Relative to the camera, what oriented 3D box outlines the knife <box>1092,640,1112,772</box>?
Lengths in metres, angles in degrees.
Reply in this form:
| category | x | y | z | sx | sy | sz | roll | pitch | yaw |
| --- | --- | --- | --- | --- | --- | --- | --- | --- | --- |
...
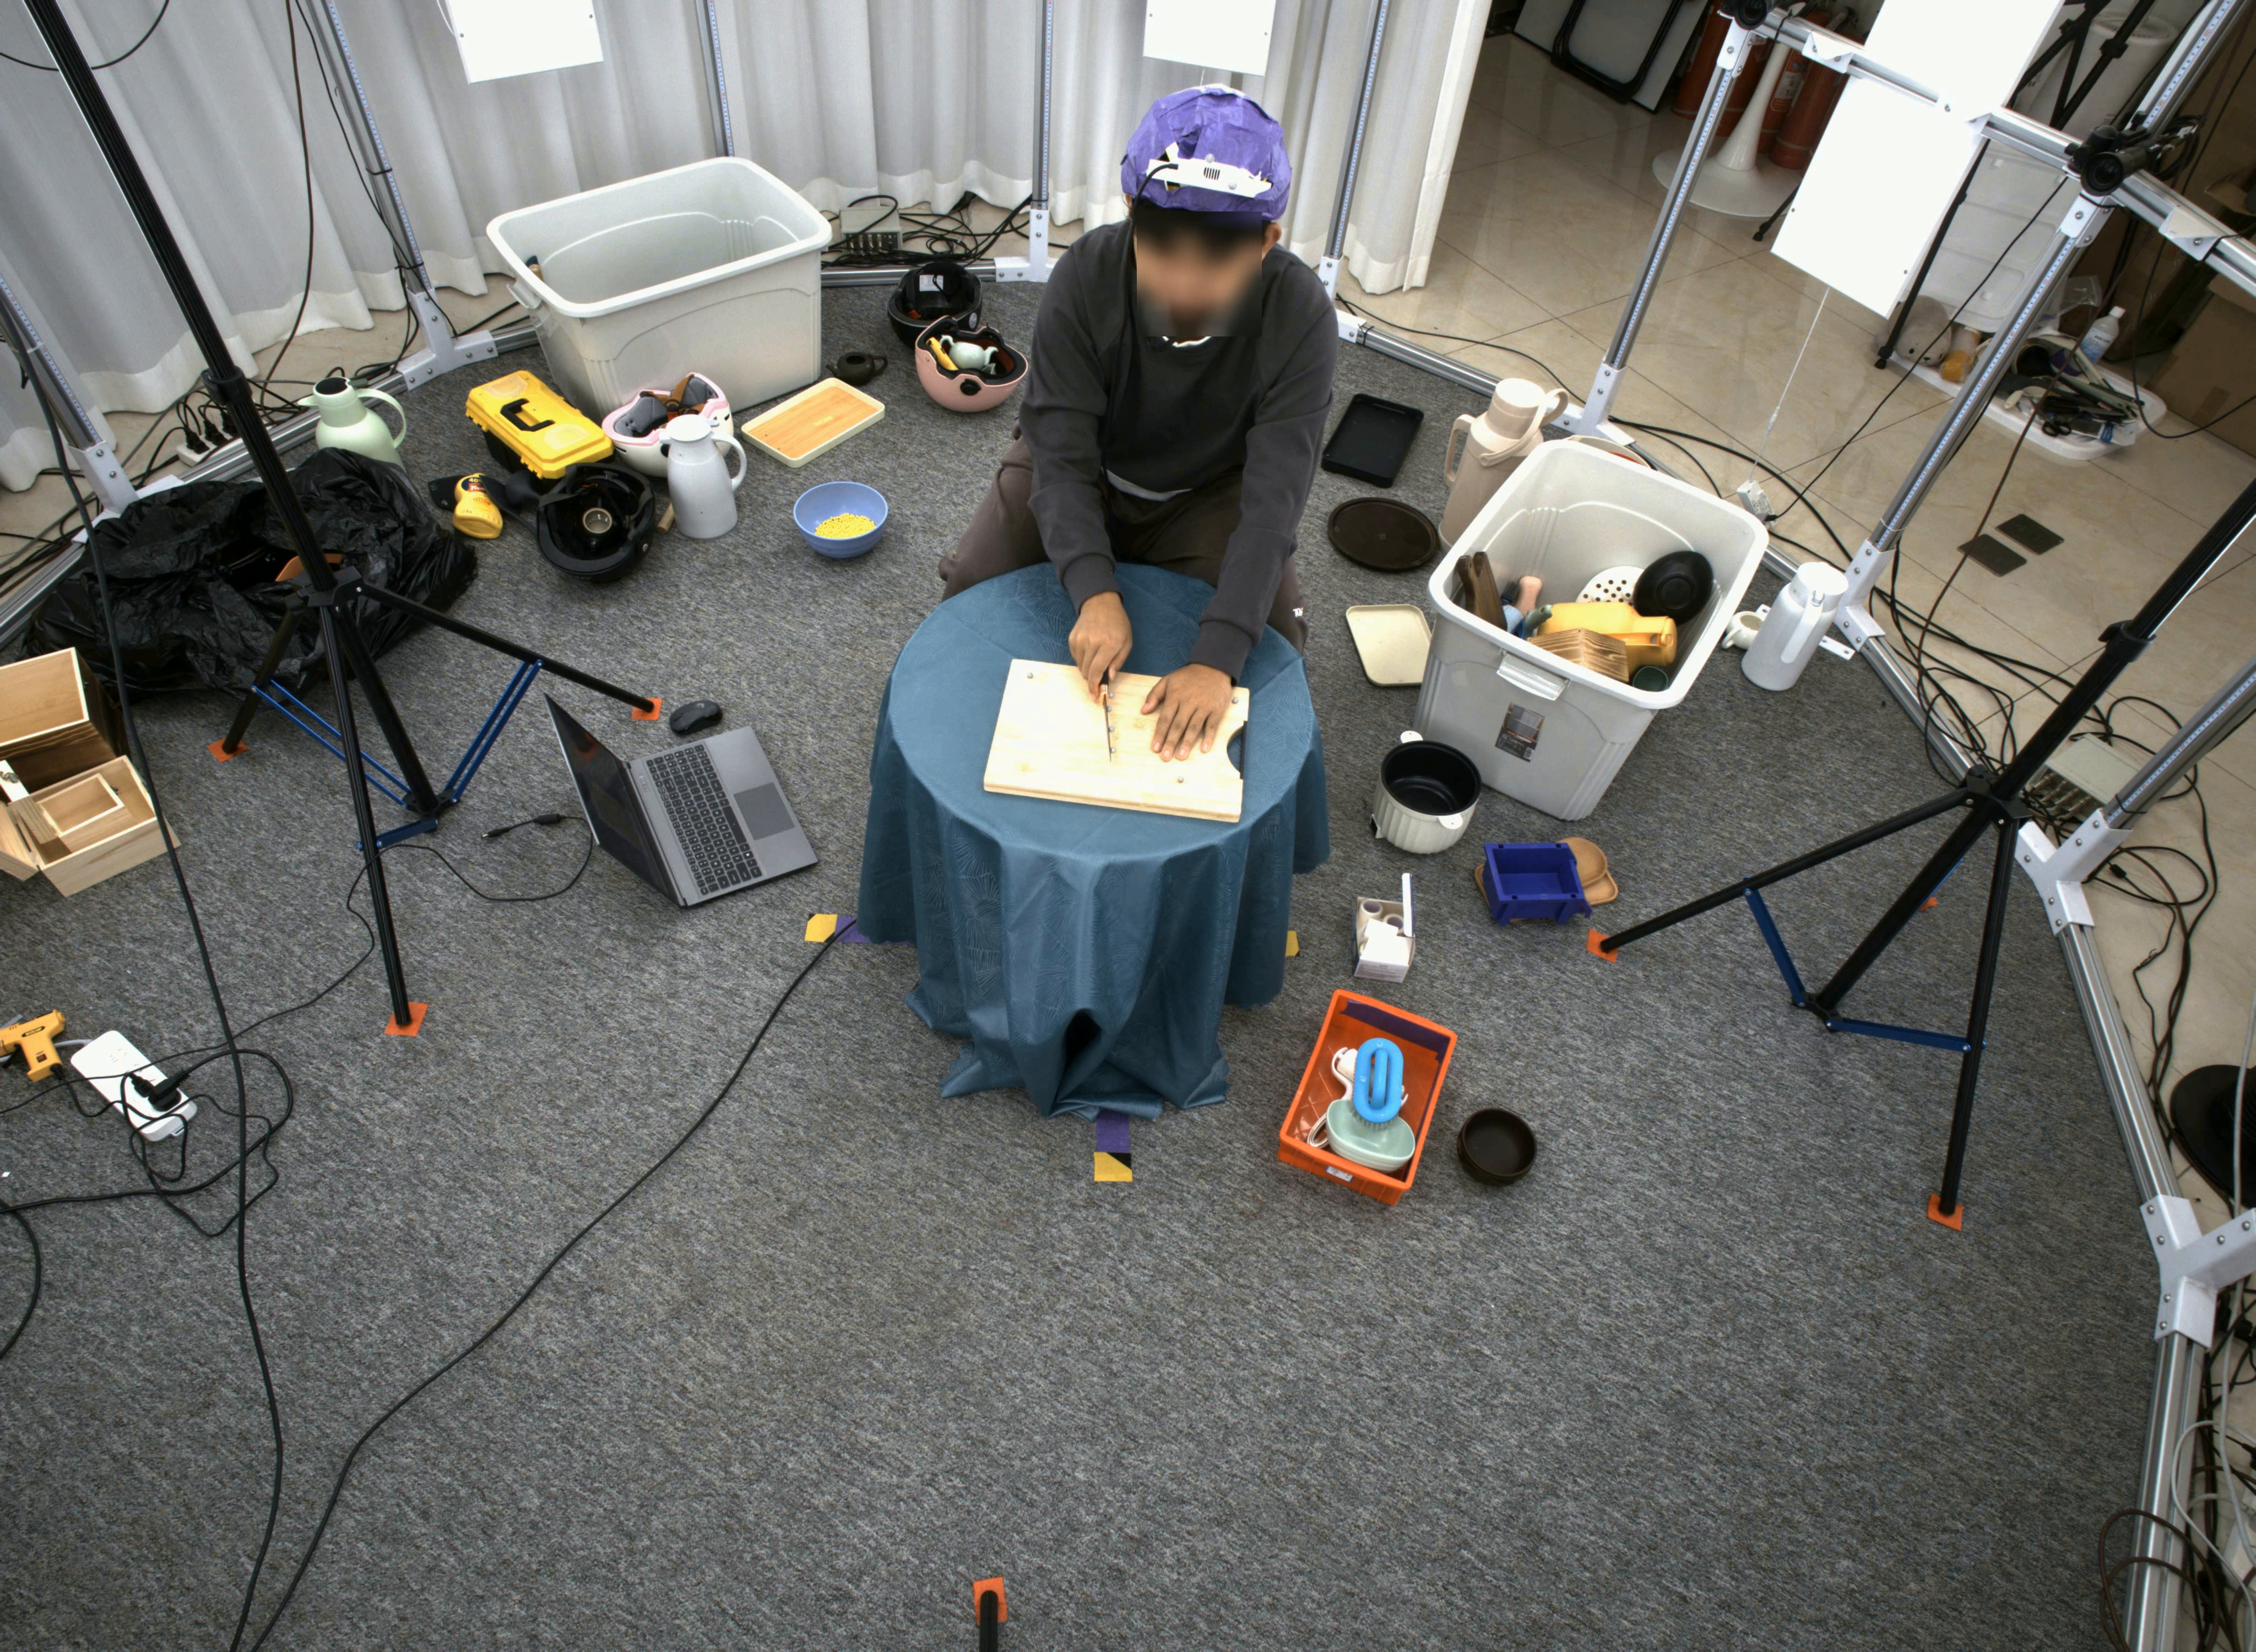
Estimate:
| category | x | y | z | sx | sy | sz | roll | pitch | yaw |
| --- | --- | --- | --- | --- | --- | --- | --- | --- | --- |
| knife | -0.034 | -0.168 | 1.760 | 0.017 | 0.025 | 0.231 | 2 | 53 | -12 |

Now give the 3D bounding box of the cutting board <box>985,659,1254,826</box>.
| category | x | y | z | sx | sy | sz | roll | pitch | yaw |
| --- | --- | --- | --- | --- | --- | --- | --- | --- | --- |
| cutting board | -0.004 | -0.120 | 1.758 | 0.348 | 0.023 | 0.257 | 6 | 49 | 1 |
